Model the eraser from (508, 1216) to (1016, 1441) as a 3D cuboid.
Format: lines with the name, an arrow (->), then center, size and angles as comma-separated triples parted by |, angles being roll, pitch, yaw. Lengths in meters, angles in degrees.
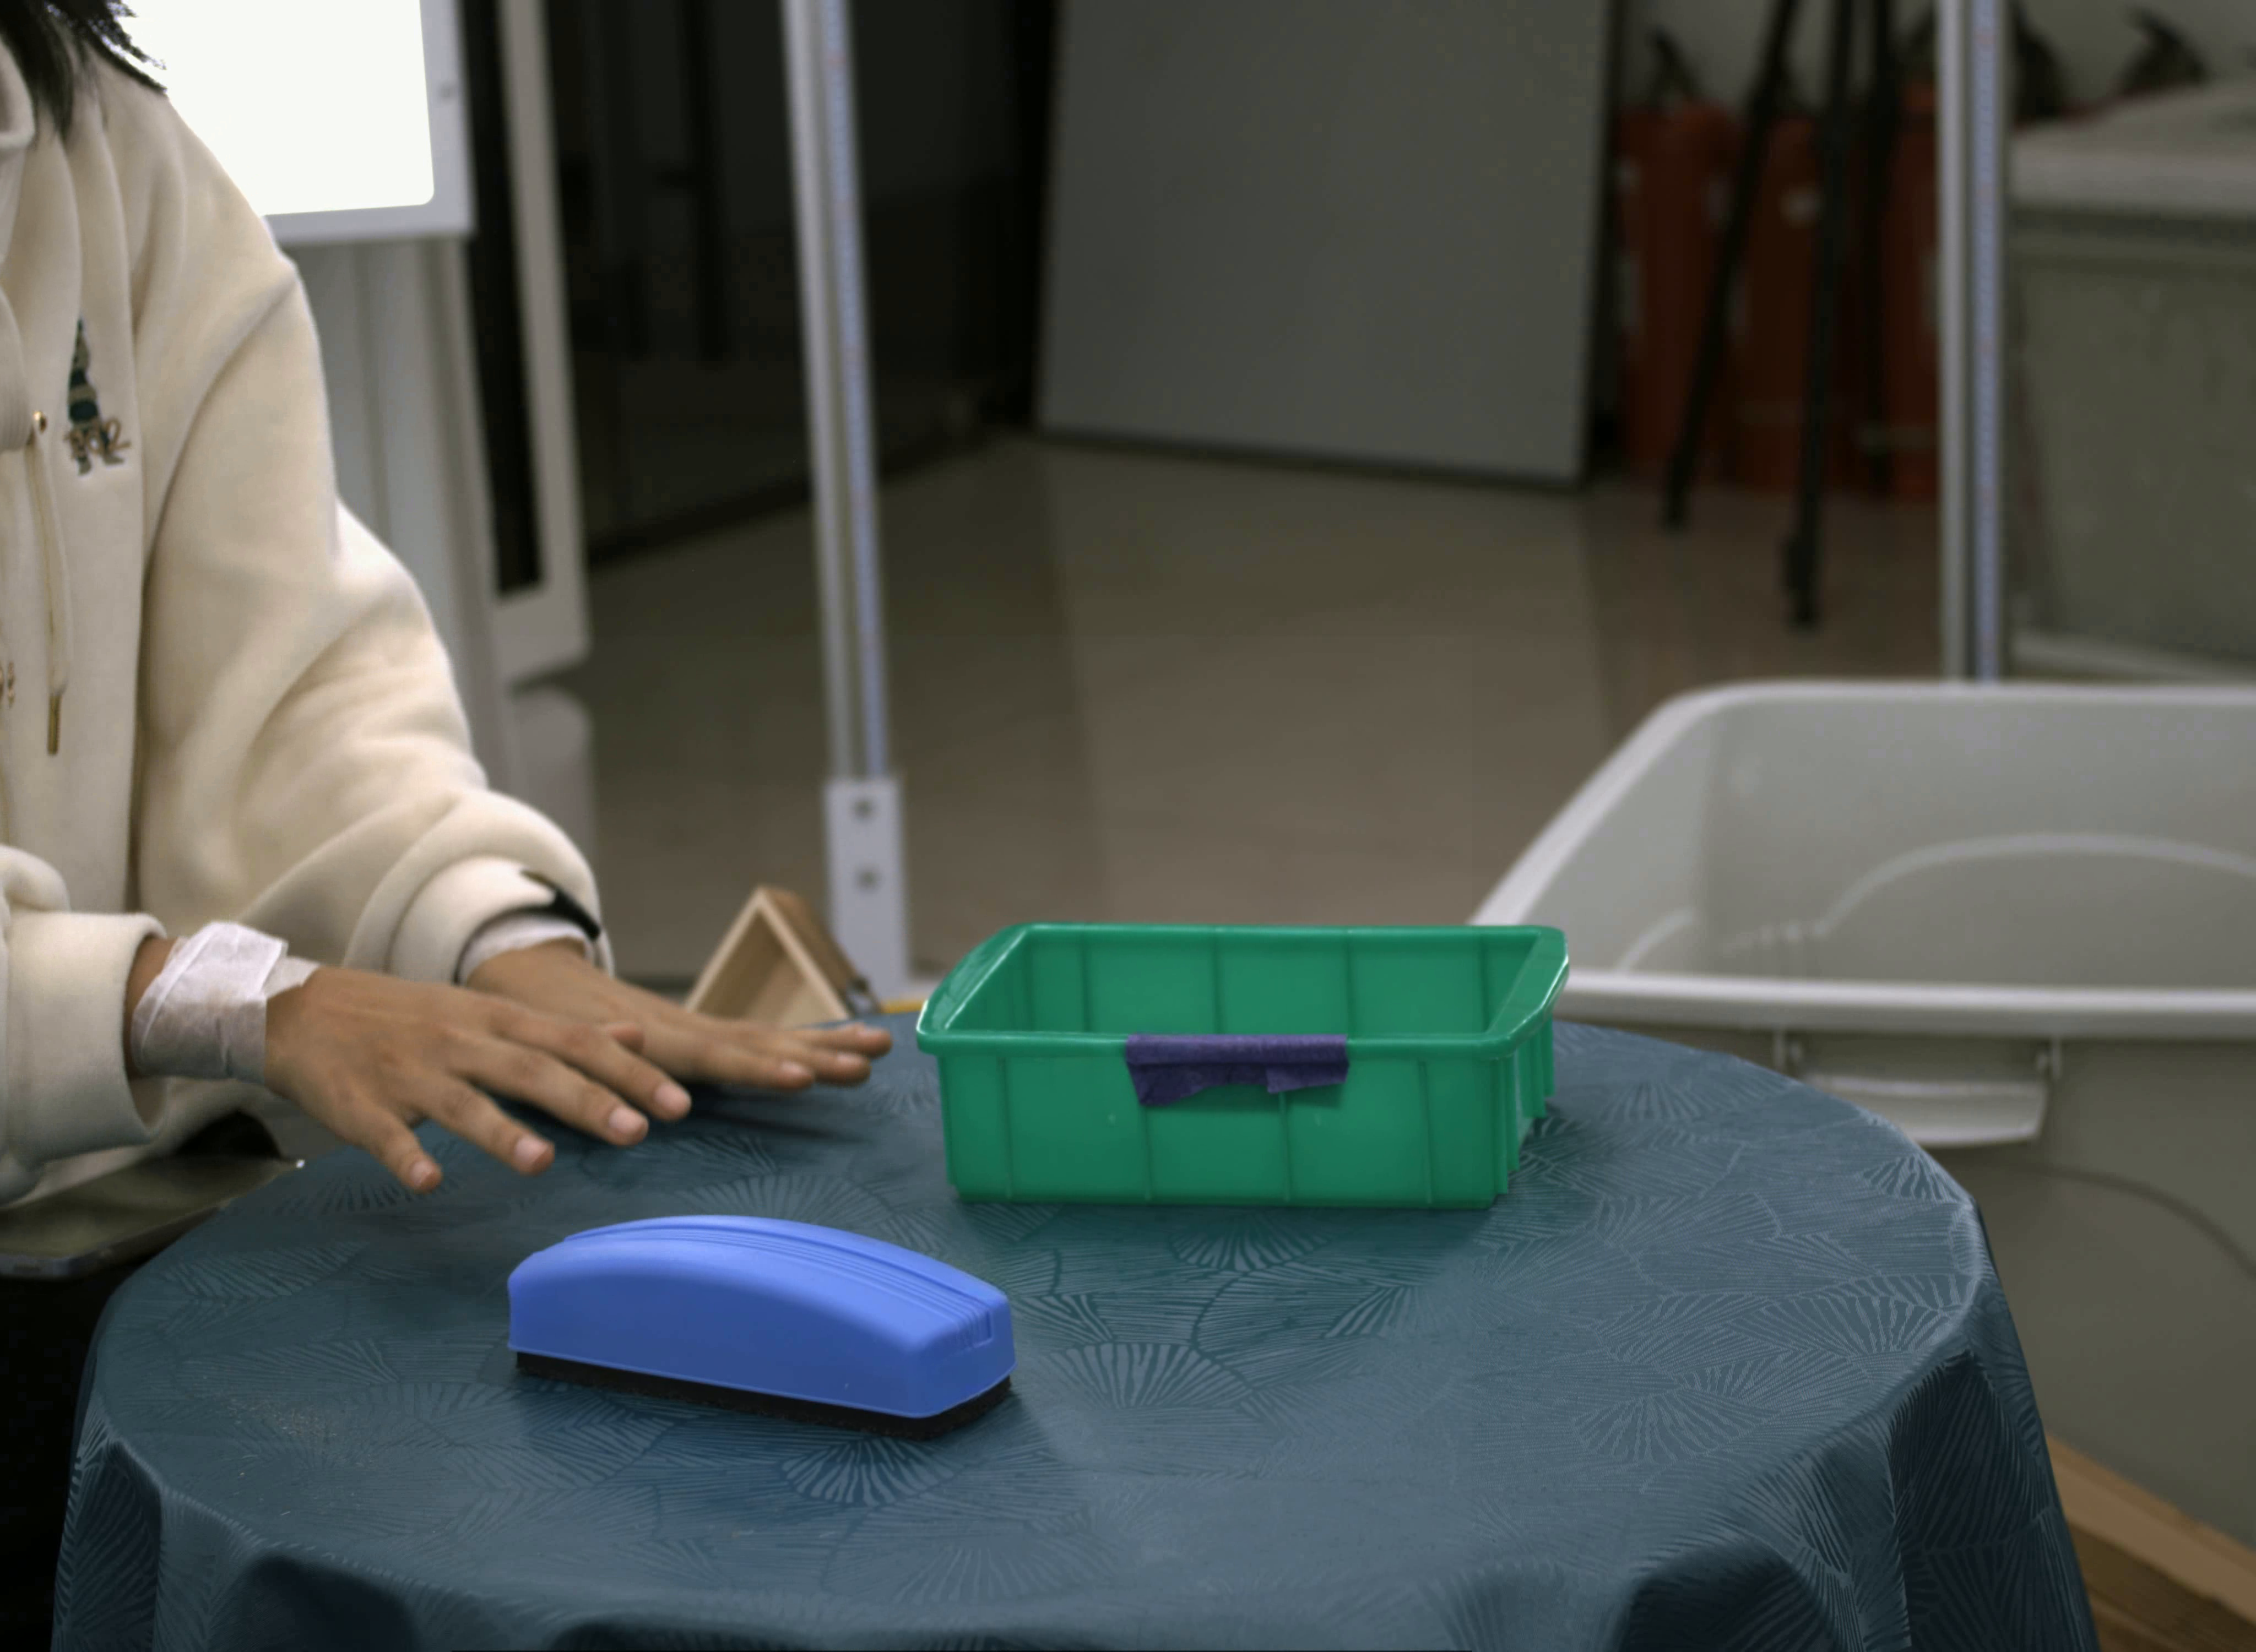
eraser -> -0.111, 0.145, 1.609 | 0.163, 0.048, 0.053 | 5, 16, 33

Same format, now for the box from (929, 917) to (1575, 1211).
box -> 0.044, 0.079, 1.797 | 0.209, 0.066, 0.138 | 0, 16, 13
